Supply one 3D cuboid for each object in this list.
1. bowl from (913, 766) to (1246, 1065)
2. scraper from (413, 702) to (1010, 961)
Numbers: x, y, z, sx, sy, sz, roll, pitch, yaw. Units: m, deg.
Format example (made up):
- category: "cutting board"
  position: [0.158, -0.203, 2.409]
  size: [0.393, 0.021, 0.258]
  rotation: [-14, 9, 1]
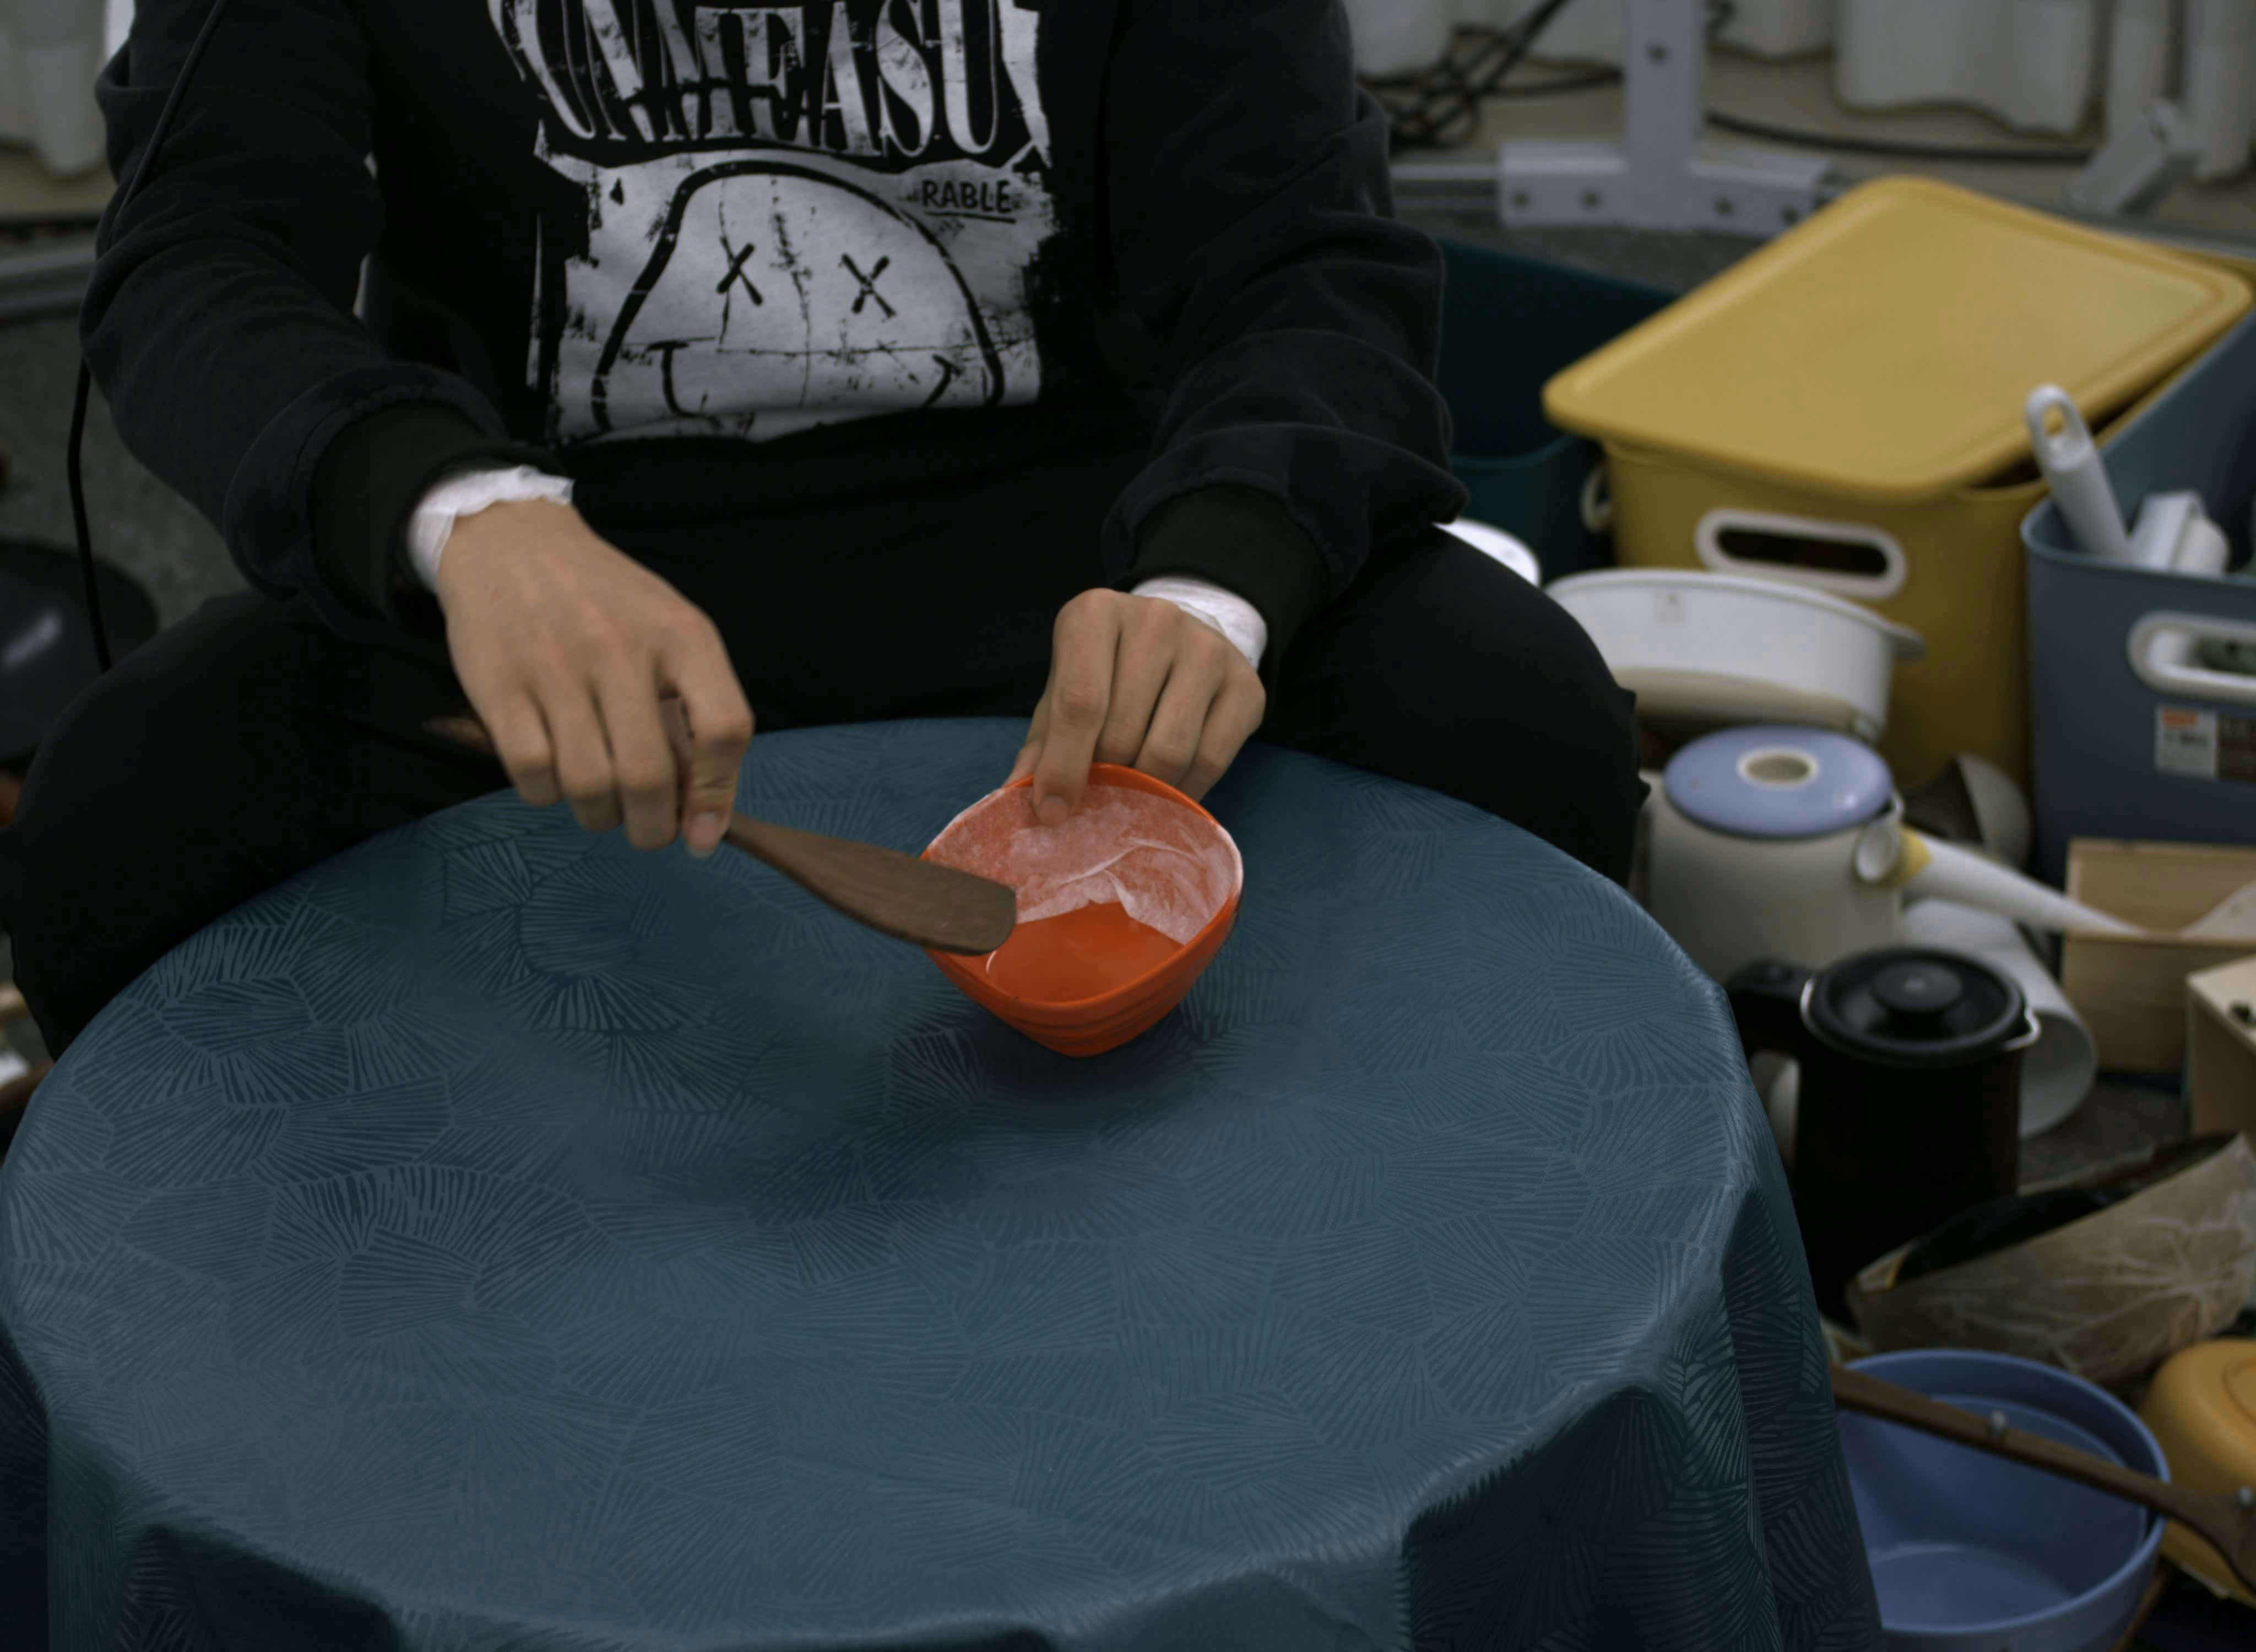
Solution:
- category: "bowl"
  position: [-0.015, 0.038, 1.953]
  size: [0.118, 0.050, 0.121]
  rotation: [-6, 44, 6]
- category: "scraper"
  position: [-0.140, 0.001, 1.881]
  size: [0.210, 0.011, 0.076]
  rotation: [21, 18, 0]
